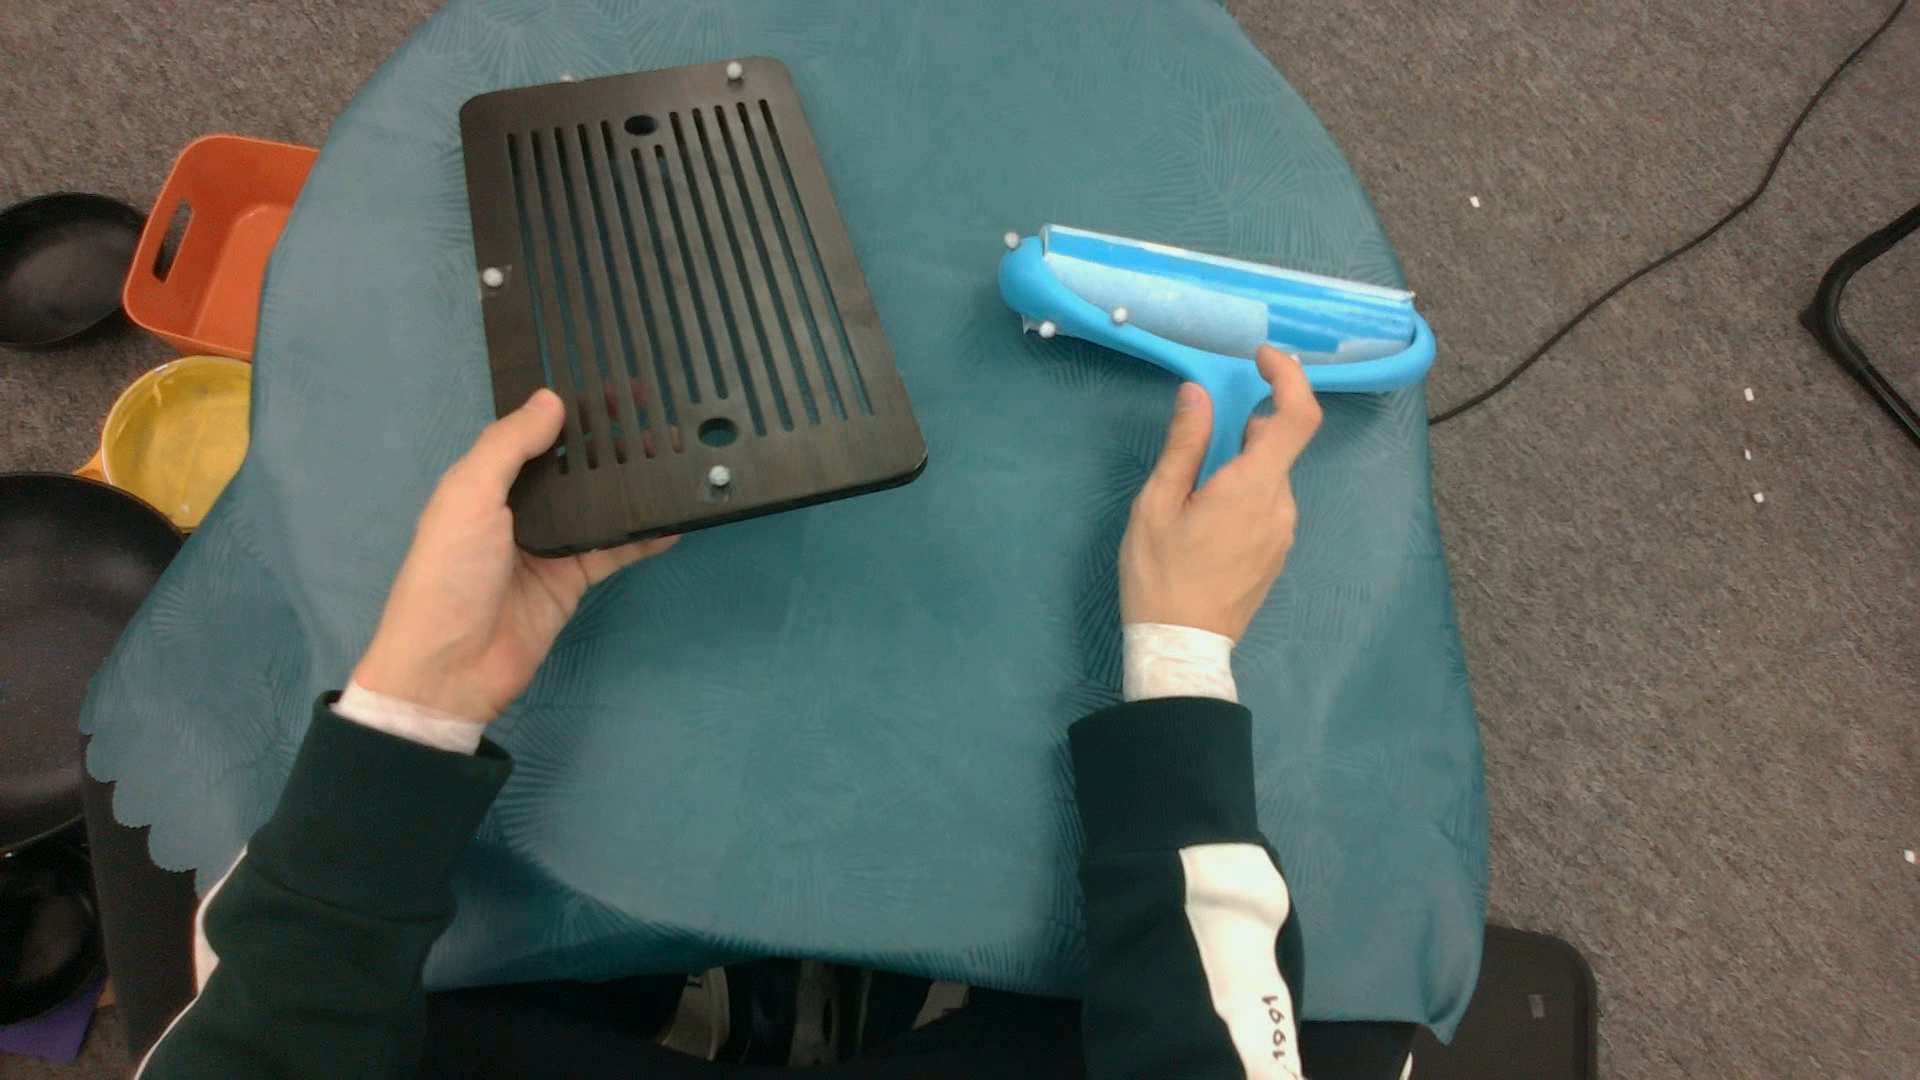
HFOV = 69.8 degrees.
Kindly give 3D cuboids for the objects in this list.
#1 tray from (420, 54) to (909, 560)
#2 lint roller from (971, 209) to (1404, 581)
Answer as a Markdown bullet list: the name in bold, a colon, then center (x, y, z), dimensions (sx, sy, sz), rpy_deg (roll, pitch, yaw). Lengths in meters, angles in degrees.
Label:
- **tray**: center (-0.148, -0.123, 0.638), dimensions (0.170, 0.018, 0.307), rpy_deg (-15, 54, -12)
- **lint roller**: center (0.117, -0.073, 0.684), dimensions (0.229, 0.067, 0.181), rpy_deg (6, 65, -12)
